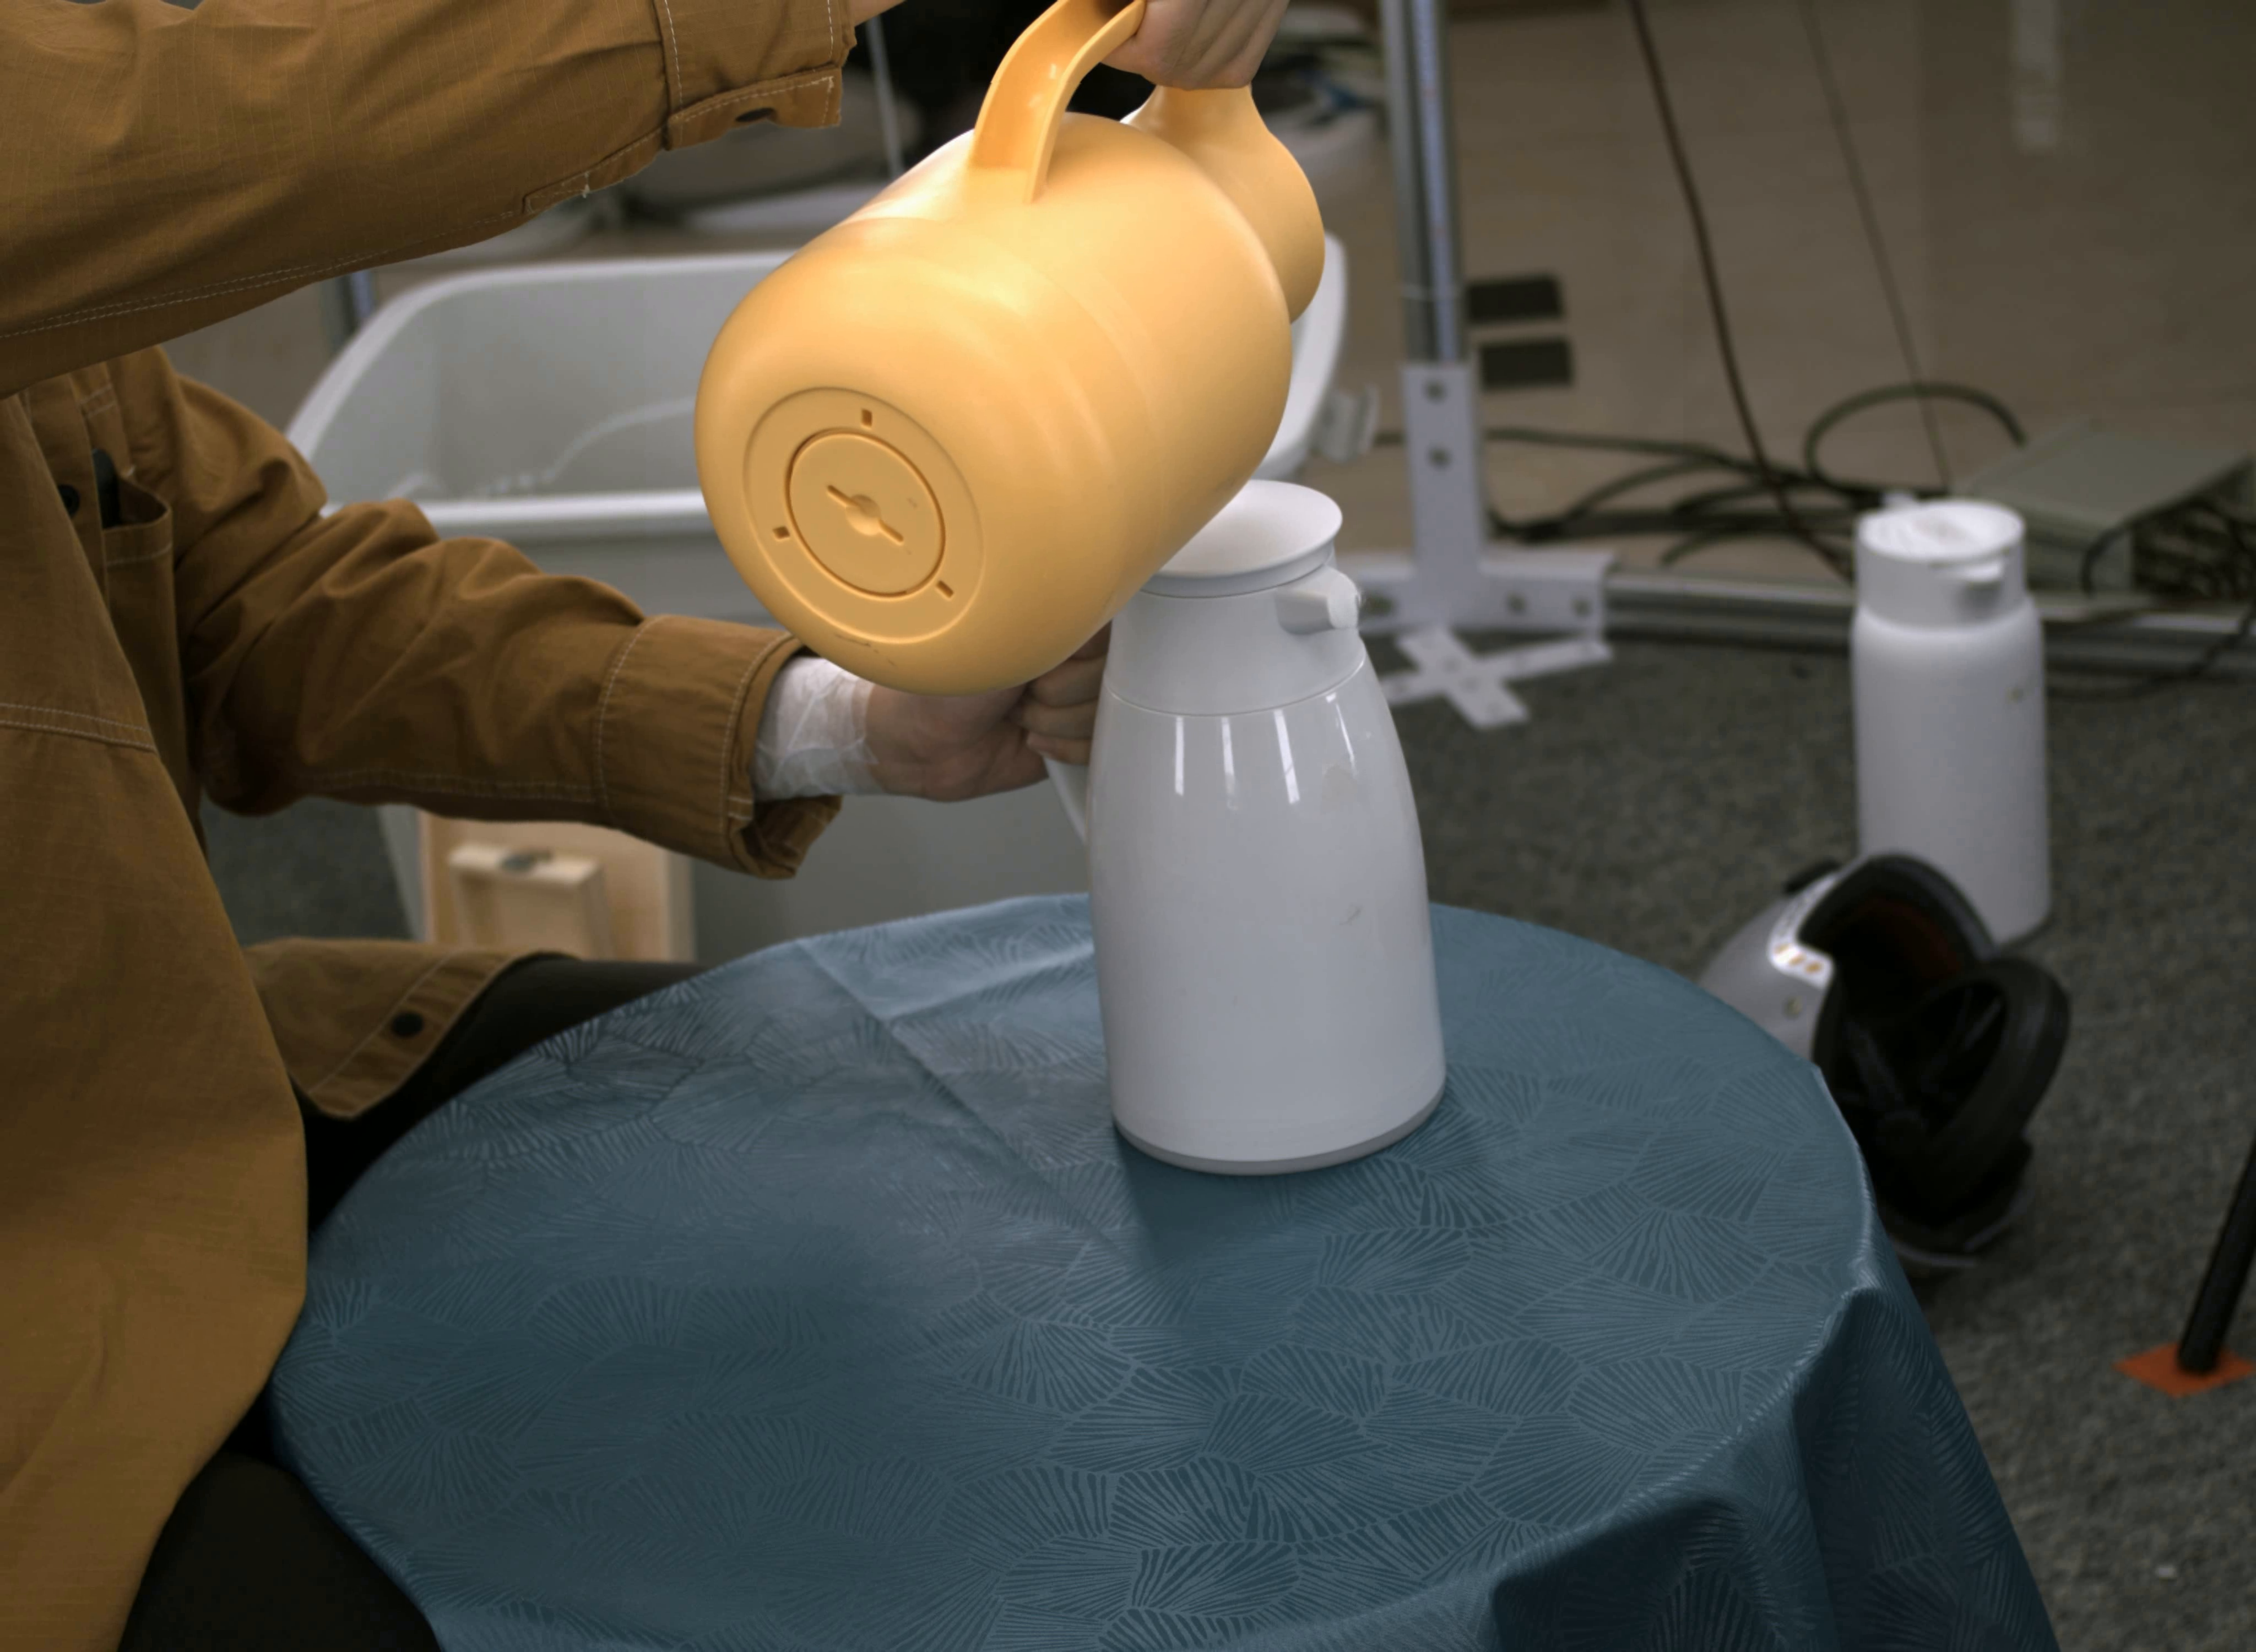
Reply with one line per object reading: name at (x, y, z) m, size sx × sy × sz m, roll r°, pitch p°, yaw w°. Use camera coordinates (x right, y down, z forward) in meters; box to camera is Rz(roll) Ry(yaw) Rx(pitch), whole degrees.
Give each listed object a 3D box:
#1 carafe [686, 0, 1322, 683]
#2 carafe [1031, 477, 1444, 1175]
carafe at (-0.030, -0.183, 1.950) m, size 0.162 × 0.206 × 0.257 m, roll 15°, pitch 34°, yaw 24°
carafe at (0.031, -0.011, 2.164) m, size 0.166 × 0.252 × 0.131 m, roll 17°, pitch 34°, yaw 40°
